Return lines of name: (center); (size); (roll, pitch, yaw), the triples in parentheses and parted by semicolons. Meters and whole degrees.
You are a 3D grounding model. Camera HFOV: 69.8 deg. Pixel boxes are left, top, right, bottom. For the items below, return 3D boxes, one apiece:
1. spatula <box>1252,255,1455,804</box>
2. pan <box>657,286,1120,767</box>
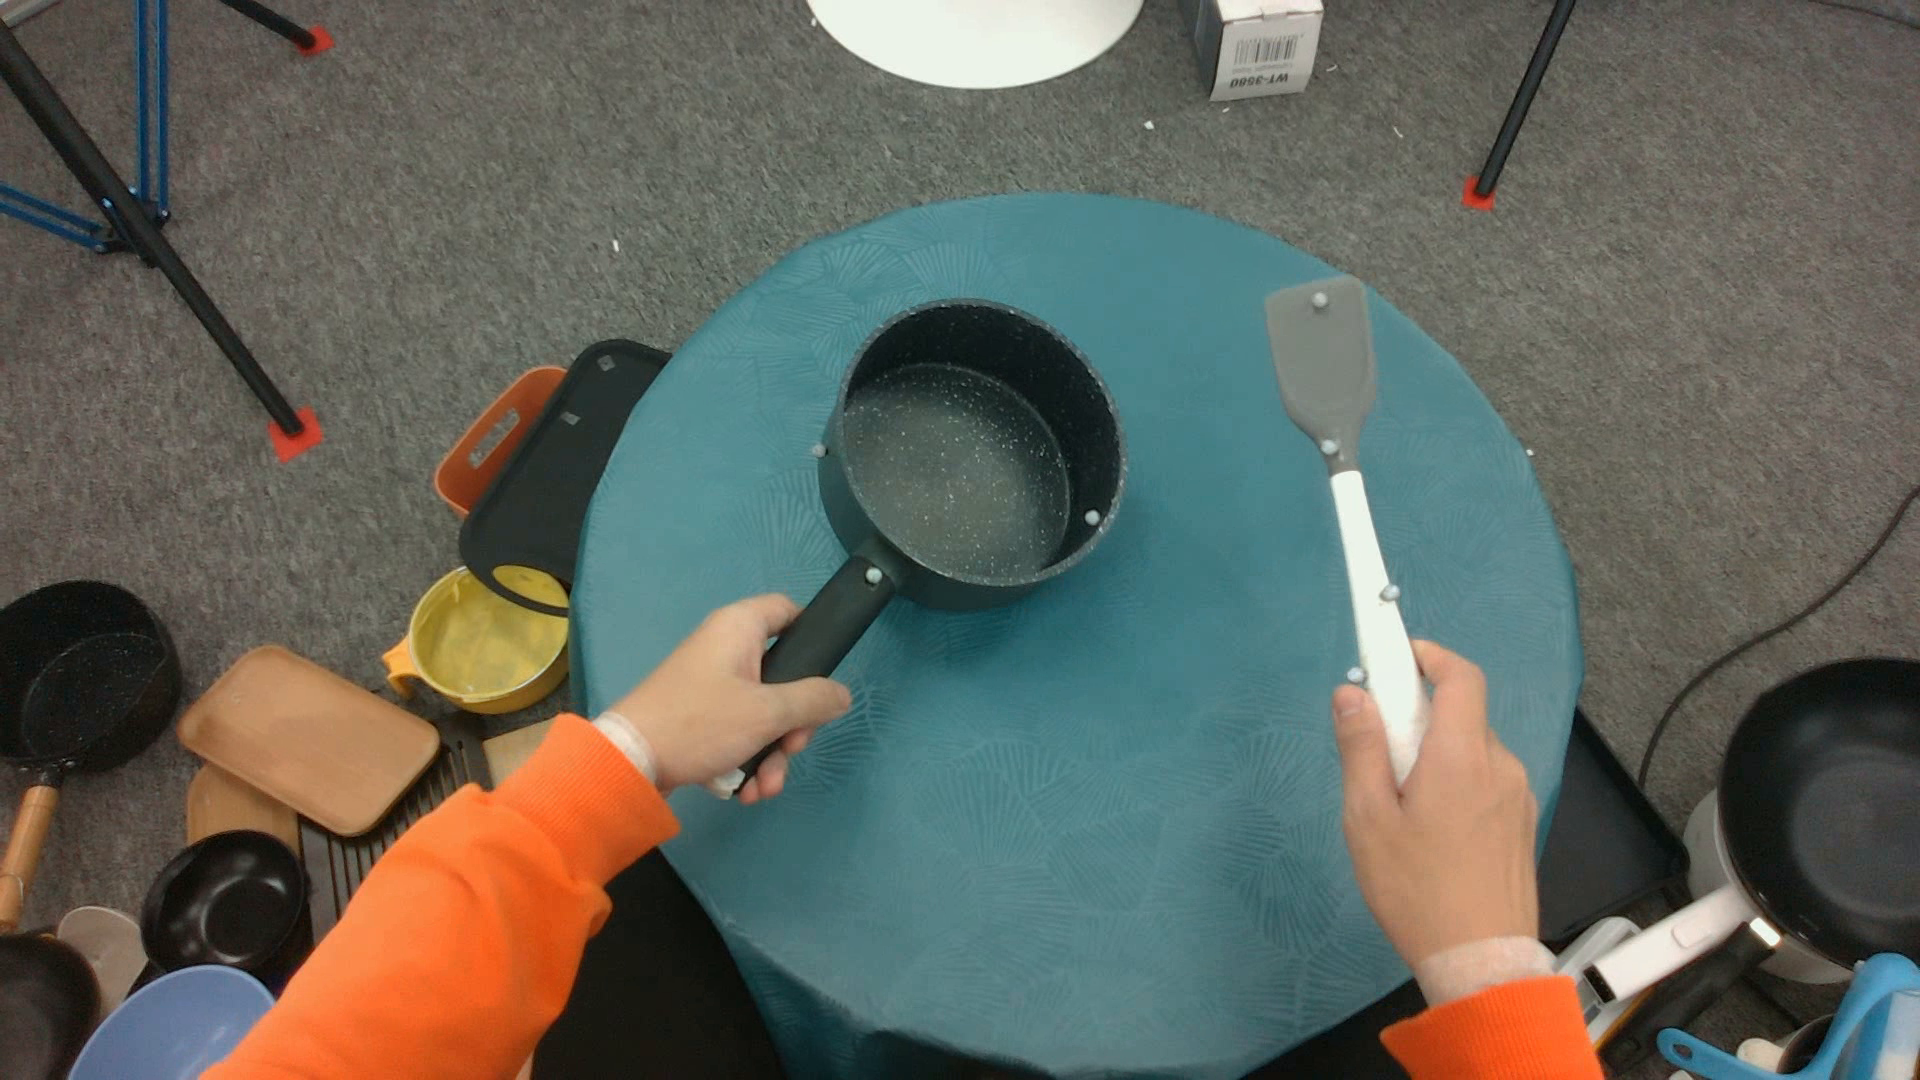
spatula: (0.199, -0.013, 0.691); (0.058, 0.032, 0.288); (-14, 67, 18)
pan: (-0.046, 0.001, 0.756); (0.172, 0.086, 0.330); (41, 62, 0)
